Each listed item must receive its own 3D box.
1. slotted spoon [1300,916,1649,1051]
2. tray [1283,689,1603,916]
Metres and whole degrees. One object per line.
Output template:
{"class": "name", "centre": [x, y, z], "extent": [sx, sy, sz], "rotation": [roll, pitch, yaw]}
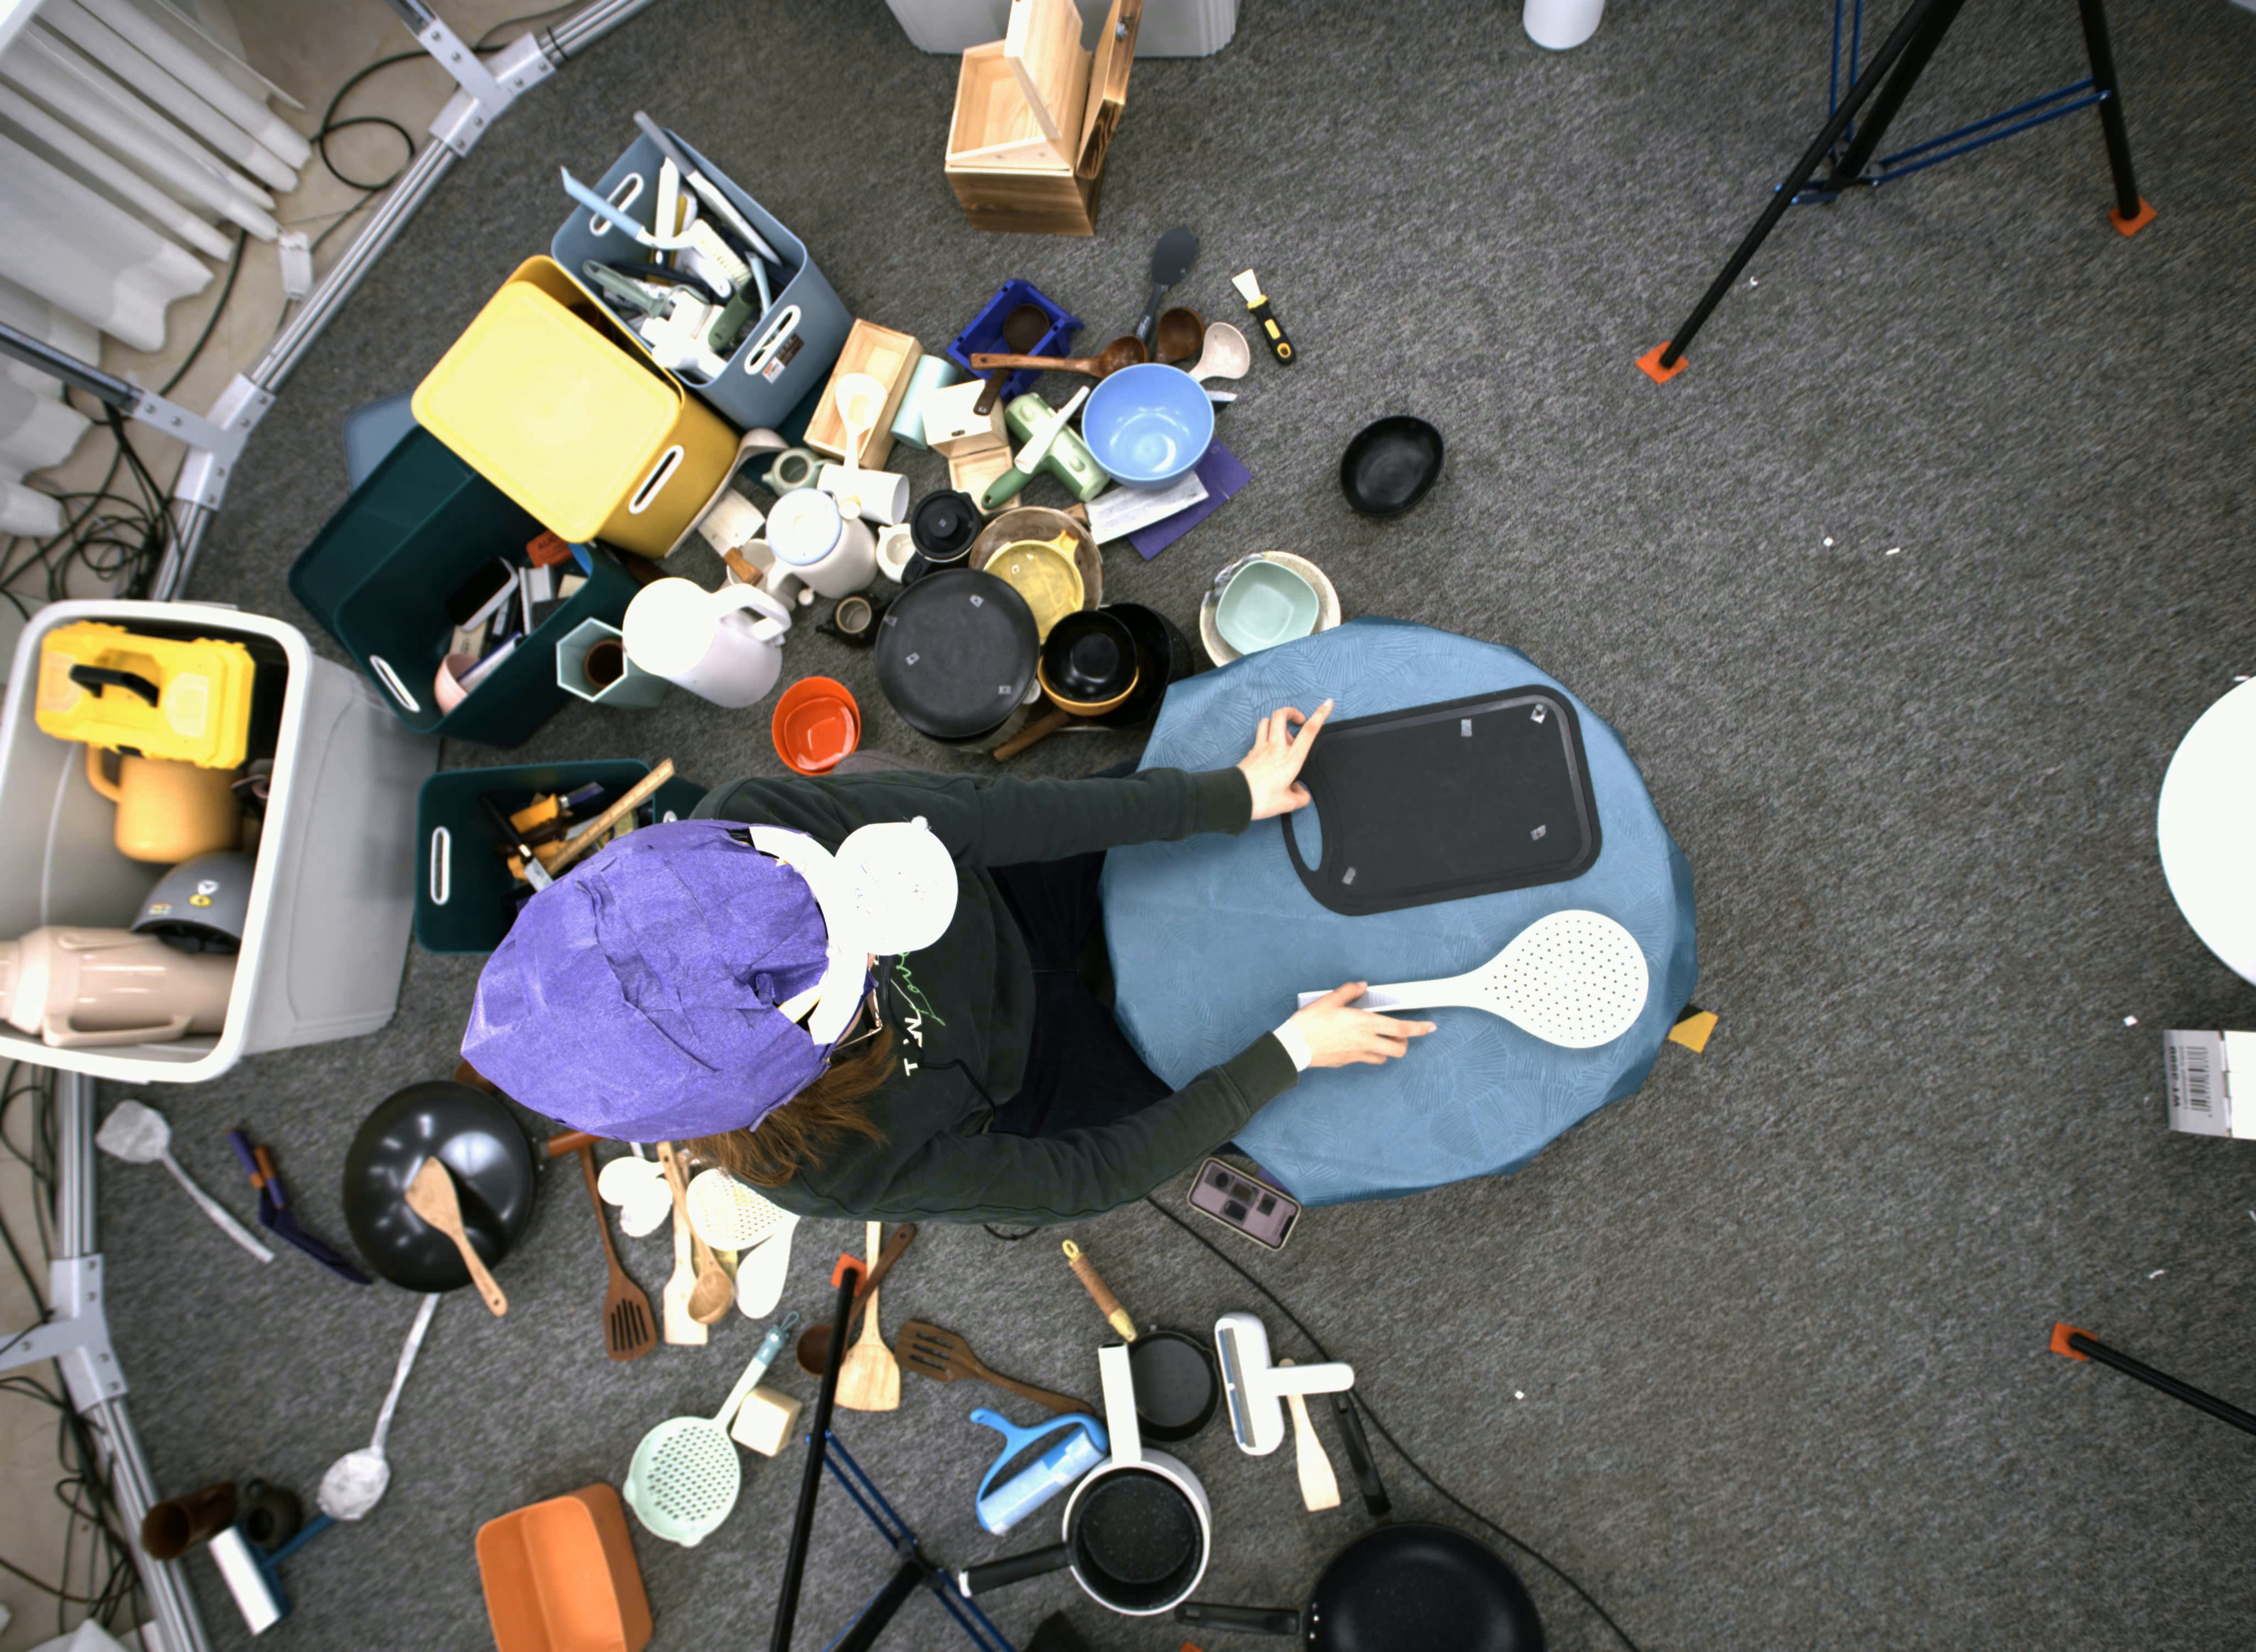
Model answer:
{"class": "slotted spoon", "centre": [0.351, 0.170, 1.420], "extent": [0.351, 0.046, 0.135], "rotation": [-6, 81, 11]}
{"class": "tray", "centre": [0.327, -0.024, 1.457], "extent": [0.327, 0.010, 0.210], "rotation": [-10, 84, 10]}
